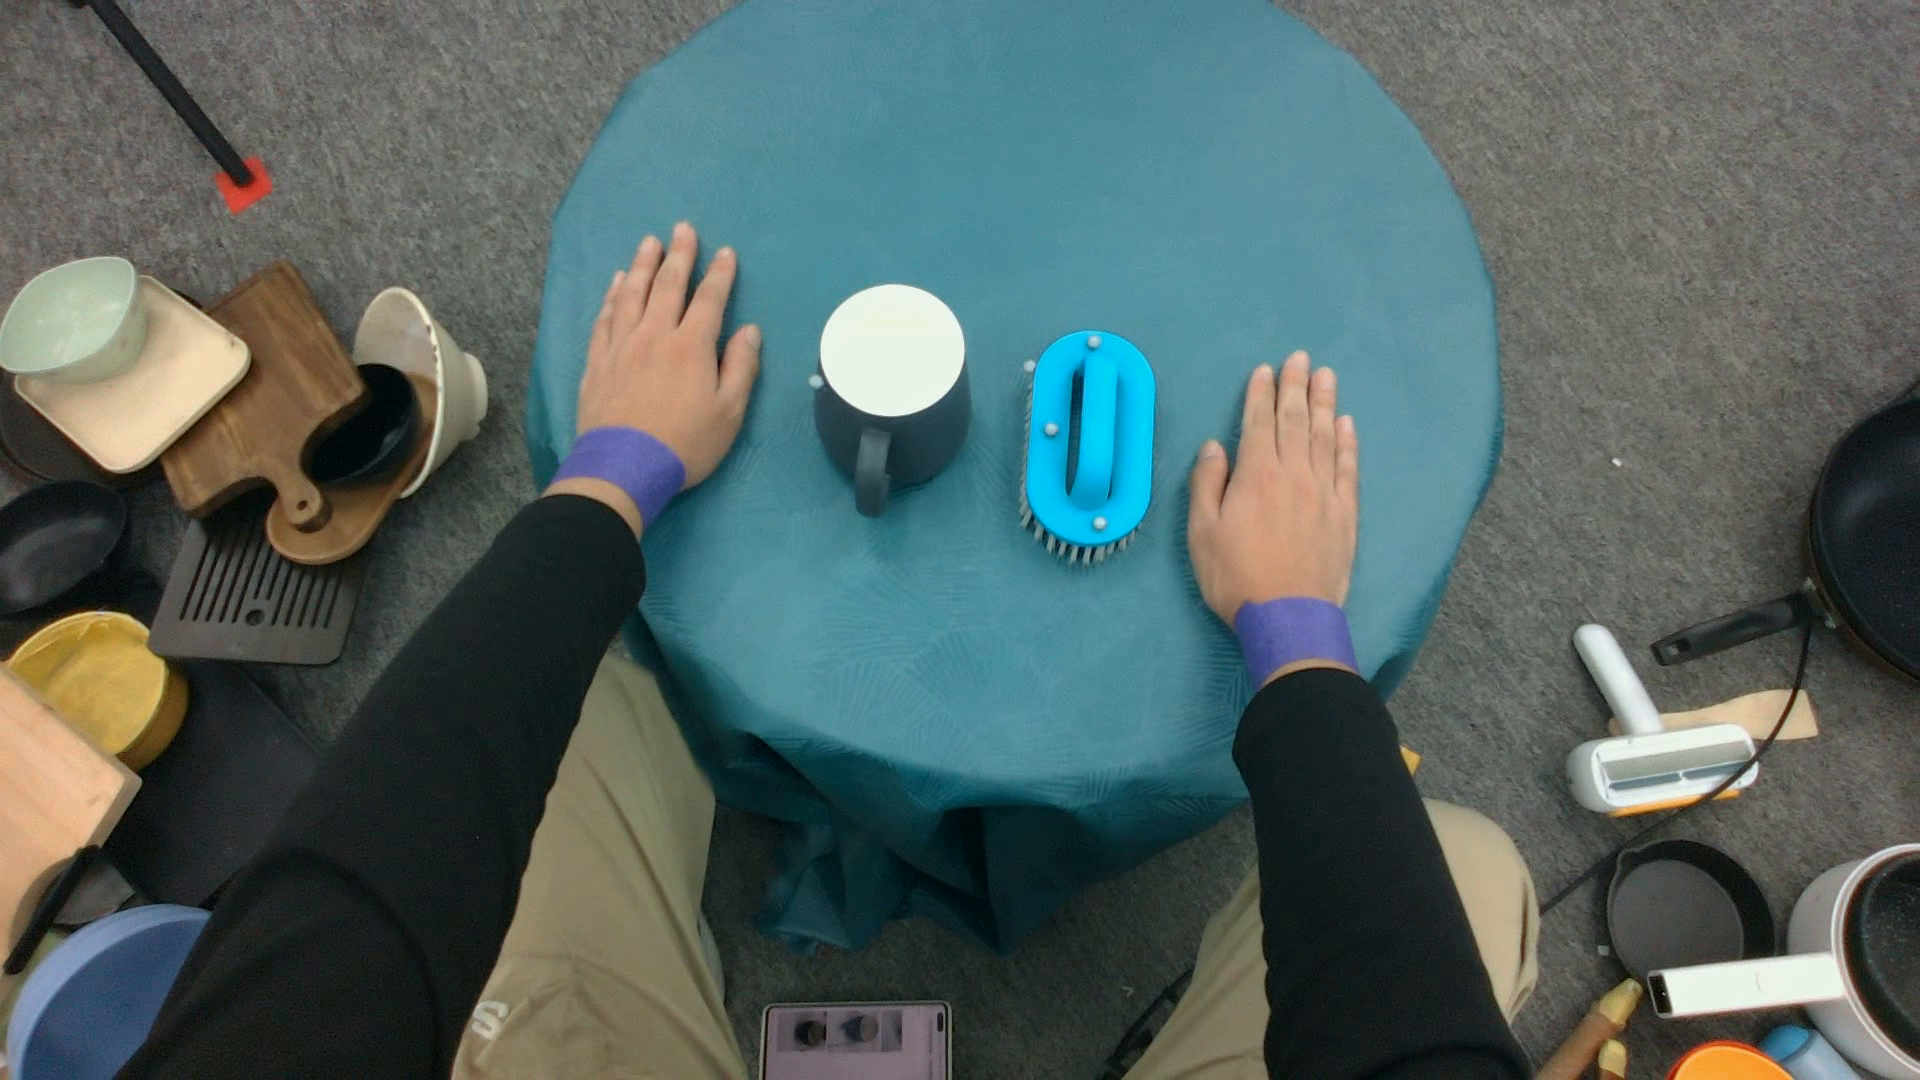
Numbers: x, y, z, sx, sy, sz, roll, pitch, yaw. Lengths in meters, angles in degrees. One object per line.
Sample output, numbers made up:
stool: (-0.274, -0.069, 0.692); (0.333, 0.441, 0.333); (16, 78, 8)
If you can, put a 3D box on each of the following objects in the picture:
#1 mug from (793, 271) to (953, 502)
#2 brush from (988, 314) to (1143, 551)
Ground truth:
mug: (-0.052, -0.081, 0.778); (0.093, 0.089, 0.123); (12, 67, 2)
brush: (0.064, -0.068, 0.796); (0.084, 0.063, 0.142); (8, 69, -6)
